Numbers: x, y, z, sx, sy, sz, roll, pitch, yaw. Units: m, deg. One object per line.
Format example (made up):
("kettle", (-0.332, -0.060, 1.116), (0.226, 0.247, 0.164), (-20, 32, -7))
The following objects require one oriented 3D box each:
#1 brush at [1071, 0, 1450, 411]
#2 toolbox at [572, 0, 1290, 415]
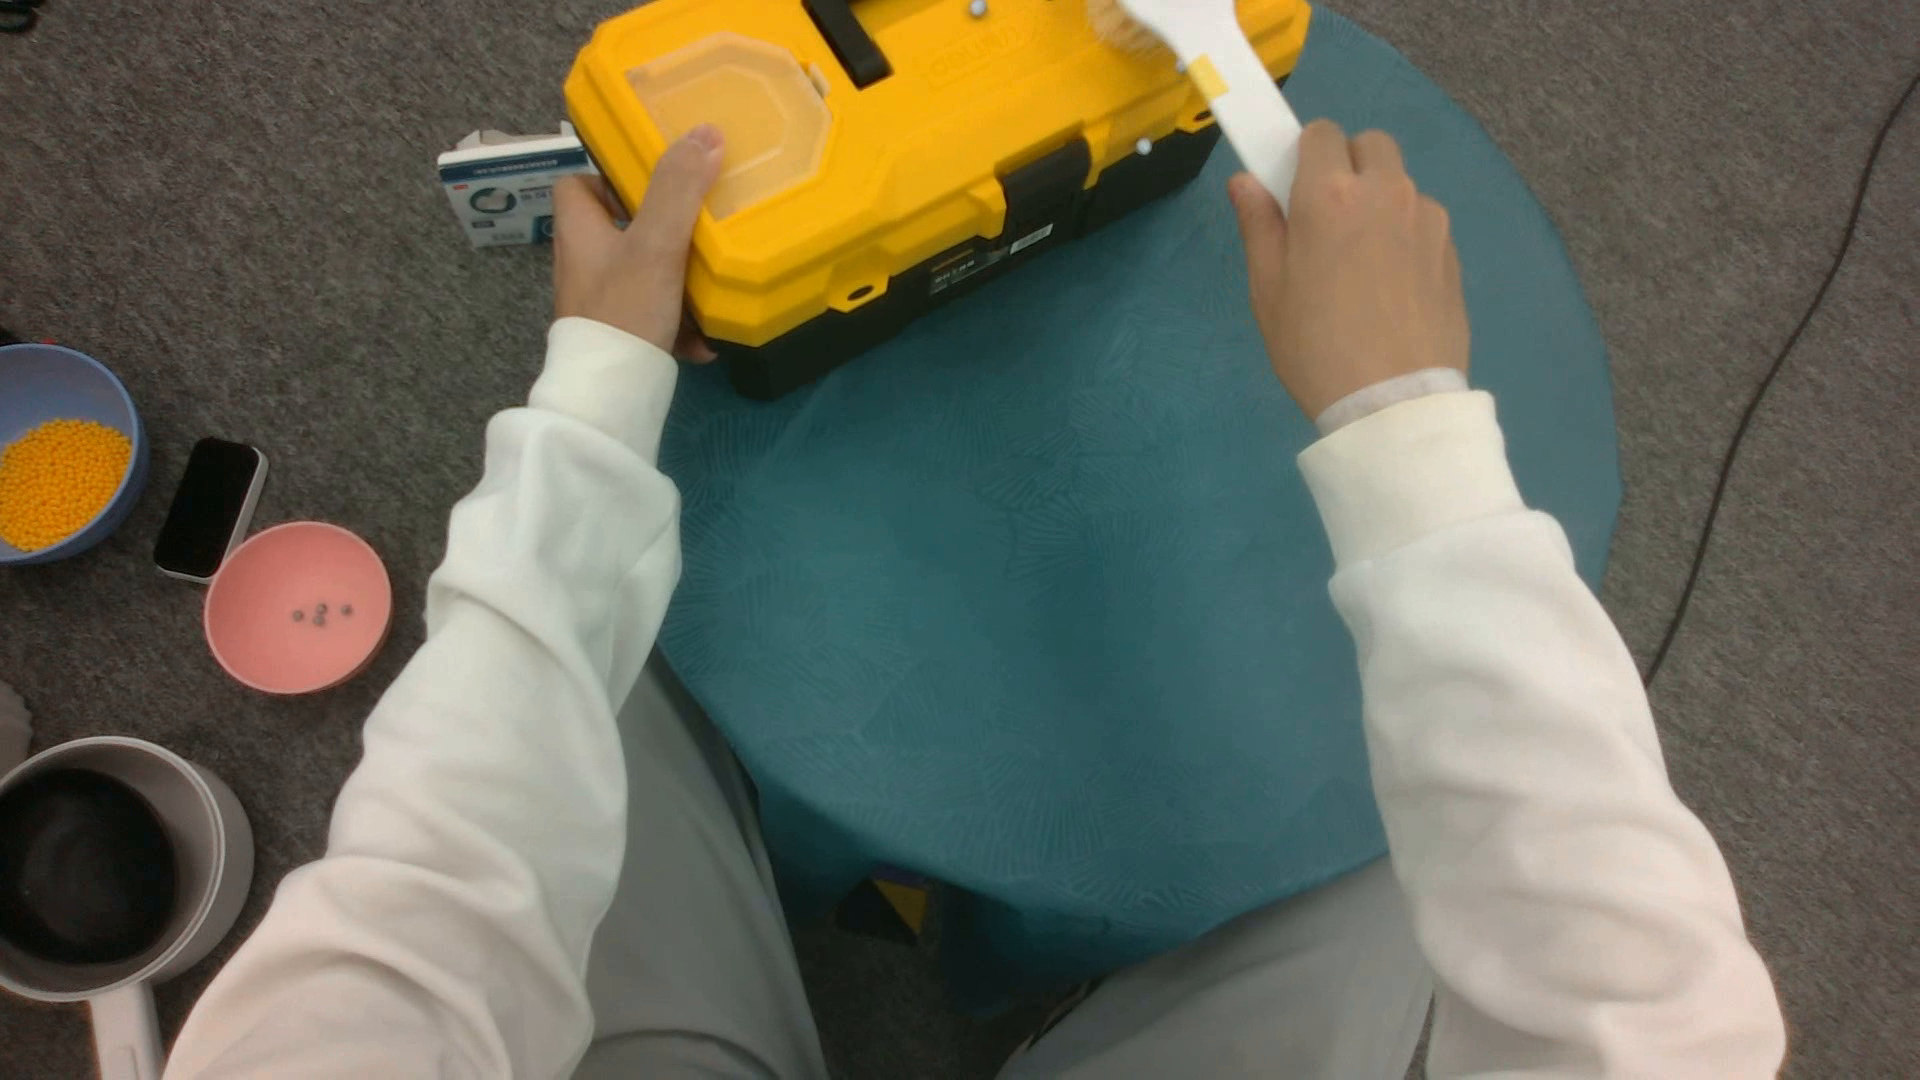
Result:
("brush", (0.136, -0.170, 0.625), (0.068, 0.056, 0.266), (-31, 85, 2))
("toolbox", (-0.011, -0.219, 0.745), (0.352, 0.172, 0.181), (-31, 78, -13))
